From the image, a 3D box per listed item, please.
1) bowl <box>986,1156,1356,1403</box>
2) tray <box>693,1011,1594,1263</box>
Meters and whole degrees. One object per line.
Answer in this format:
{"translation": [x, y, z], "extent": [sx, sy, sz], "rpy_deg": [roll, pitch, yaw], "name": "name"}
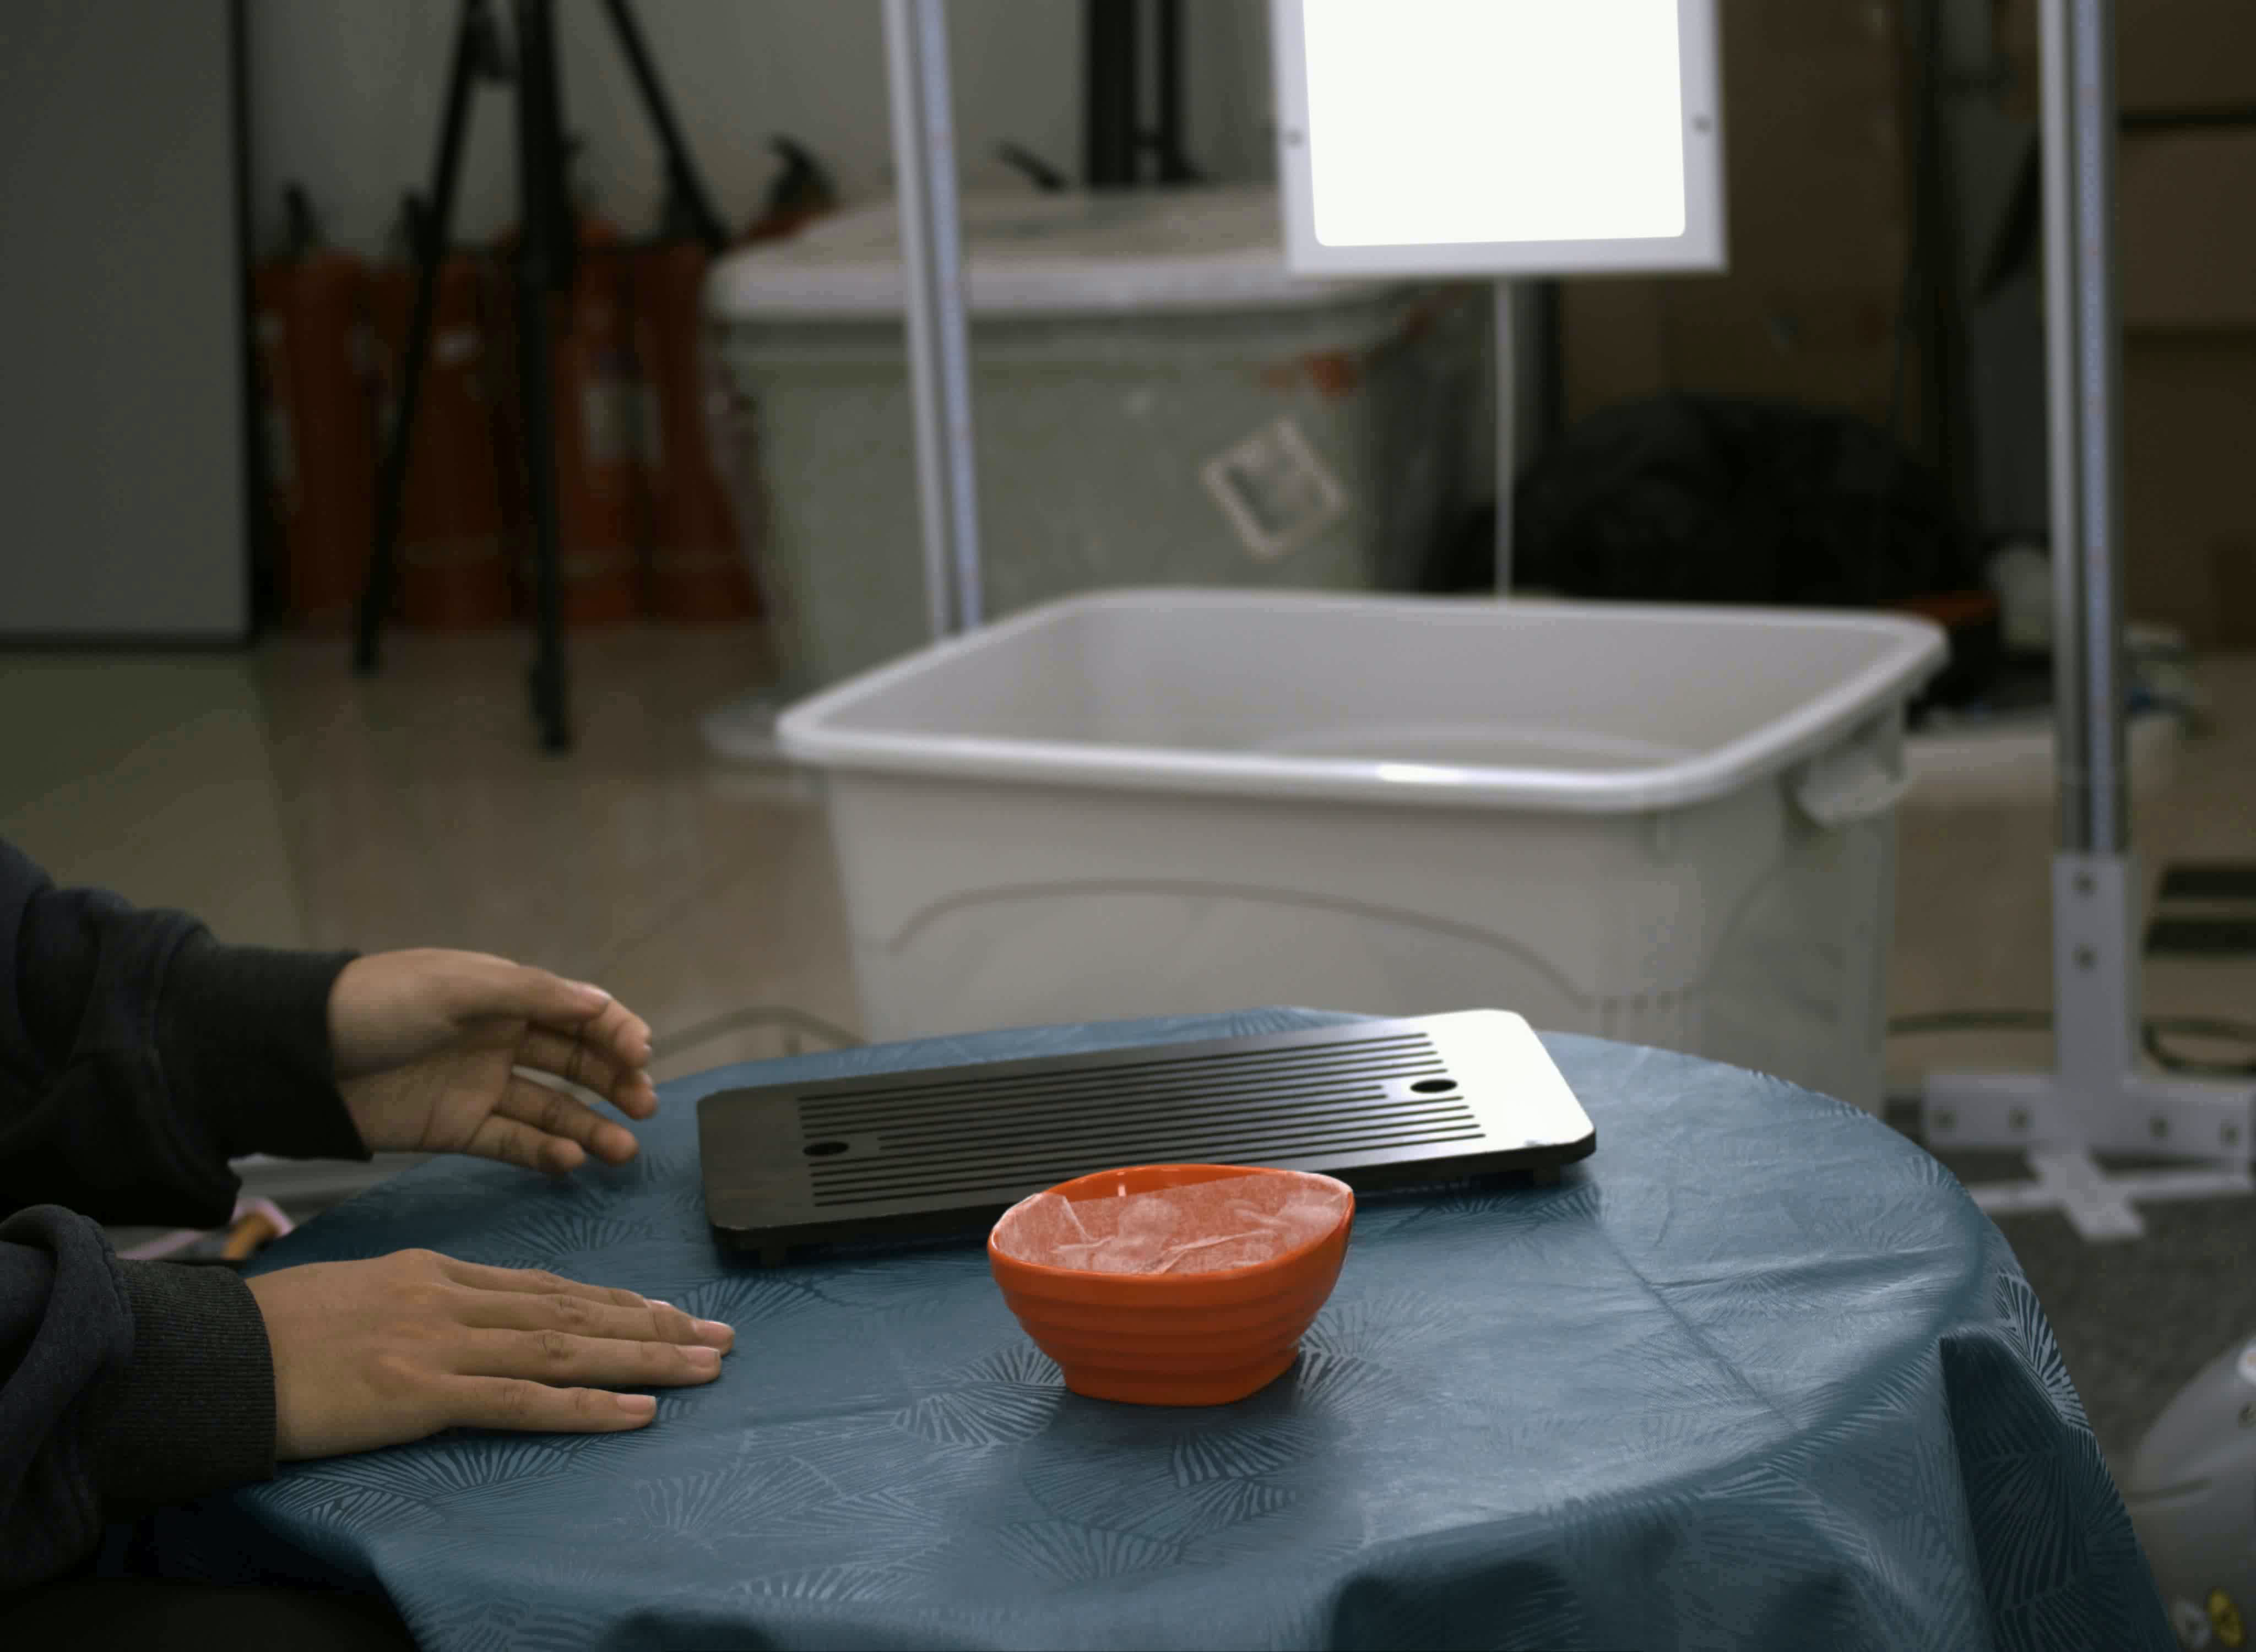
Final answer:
{"translation": [0.015, 0.143, 1.709], "extent": [0.118, 0.051, 0.119], "rpy_deg": [-5, 15, 0], "name": "bowl"}
{"translation": [0.001, 0.109, 1.932], "extent": [0.304, 0.019, 0.170], "rpy_deg": [-6, 14, -3], "name": "tray"}
